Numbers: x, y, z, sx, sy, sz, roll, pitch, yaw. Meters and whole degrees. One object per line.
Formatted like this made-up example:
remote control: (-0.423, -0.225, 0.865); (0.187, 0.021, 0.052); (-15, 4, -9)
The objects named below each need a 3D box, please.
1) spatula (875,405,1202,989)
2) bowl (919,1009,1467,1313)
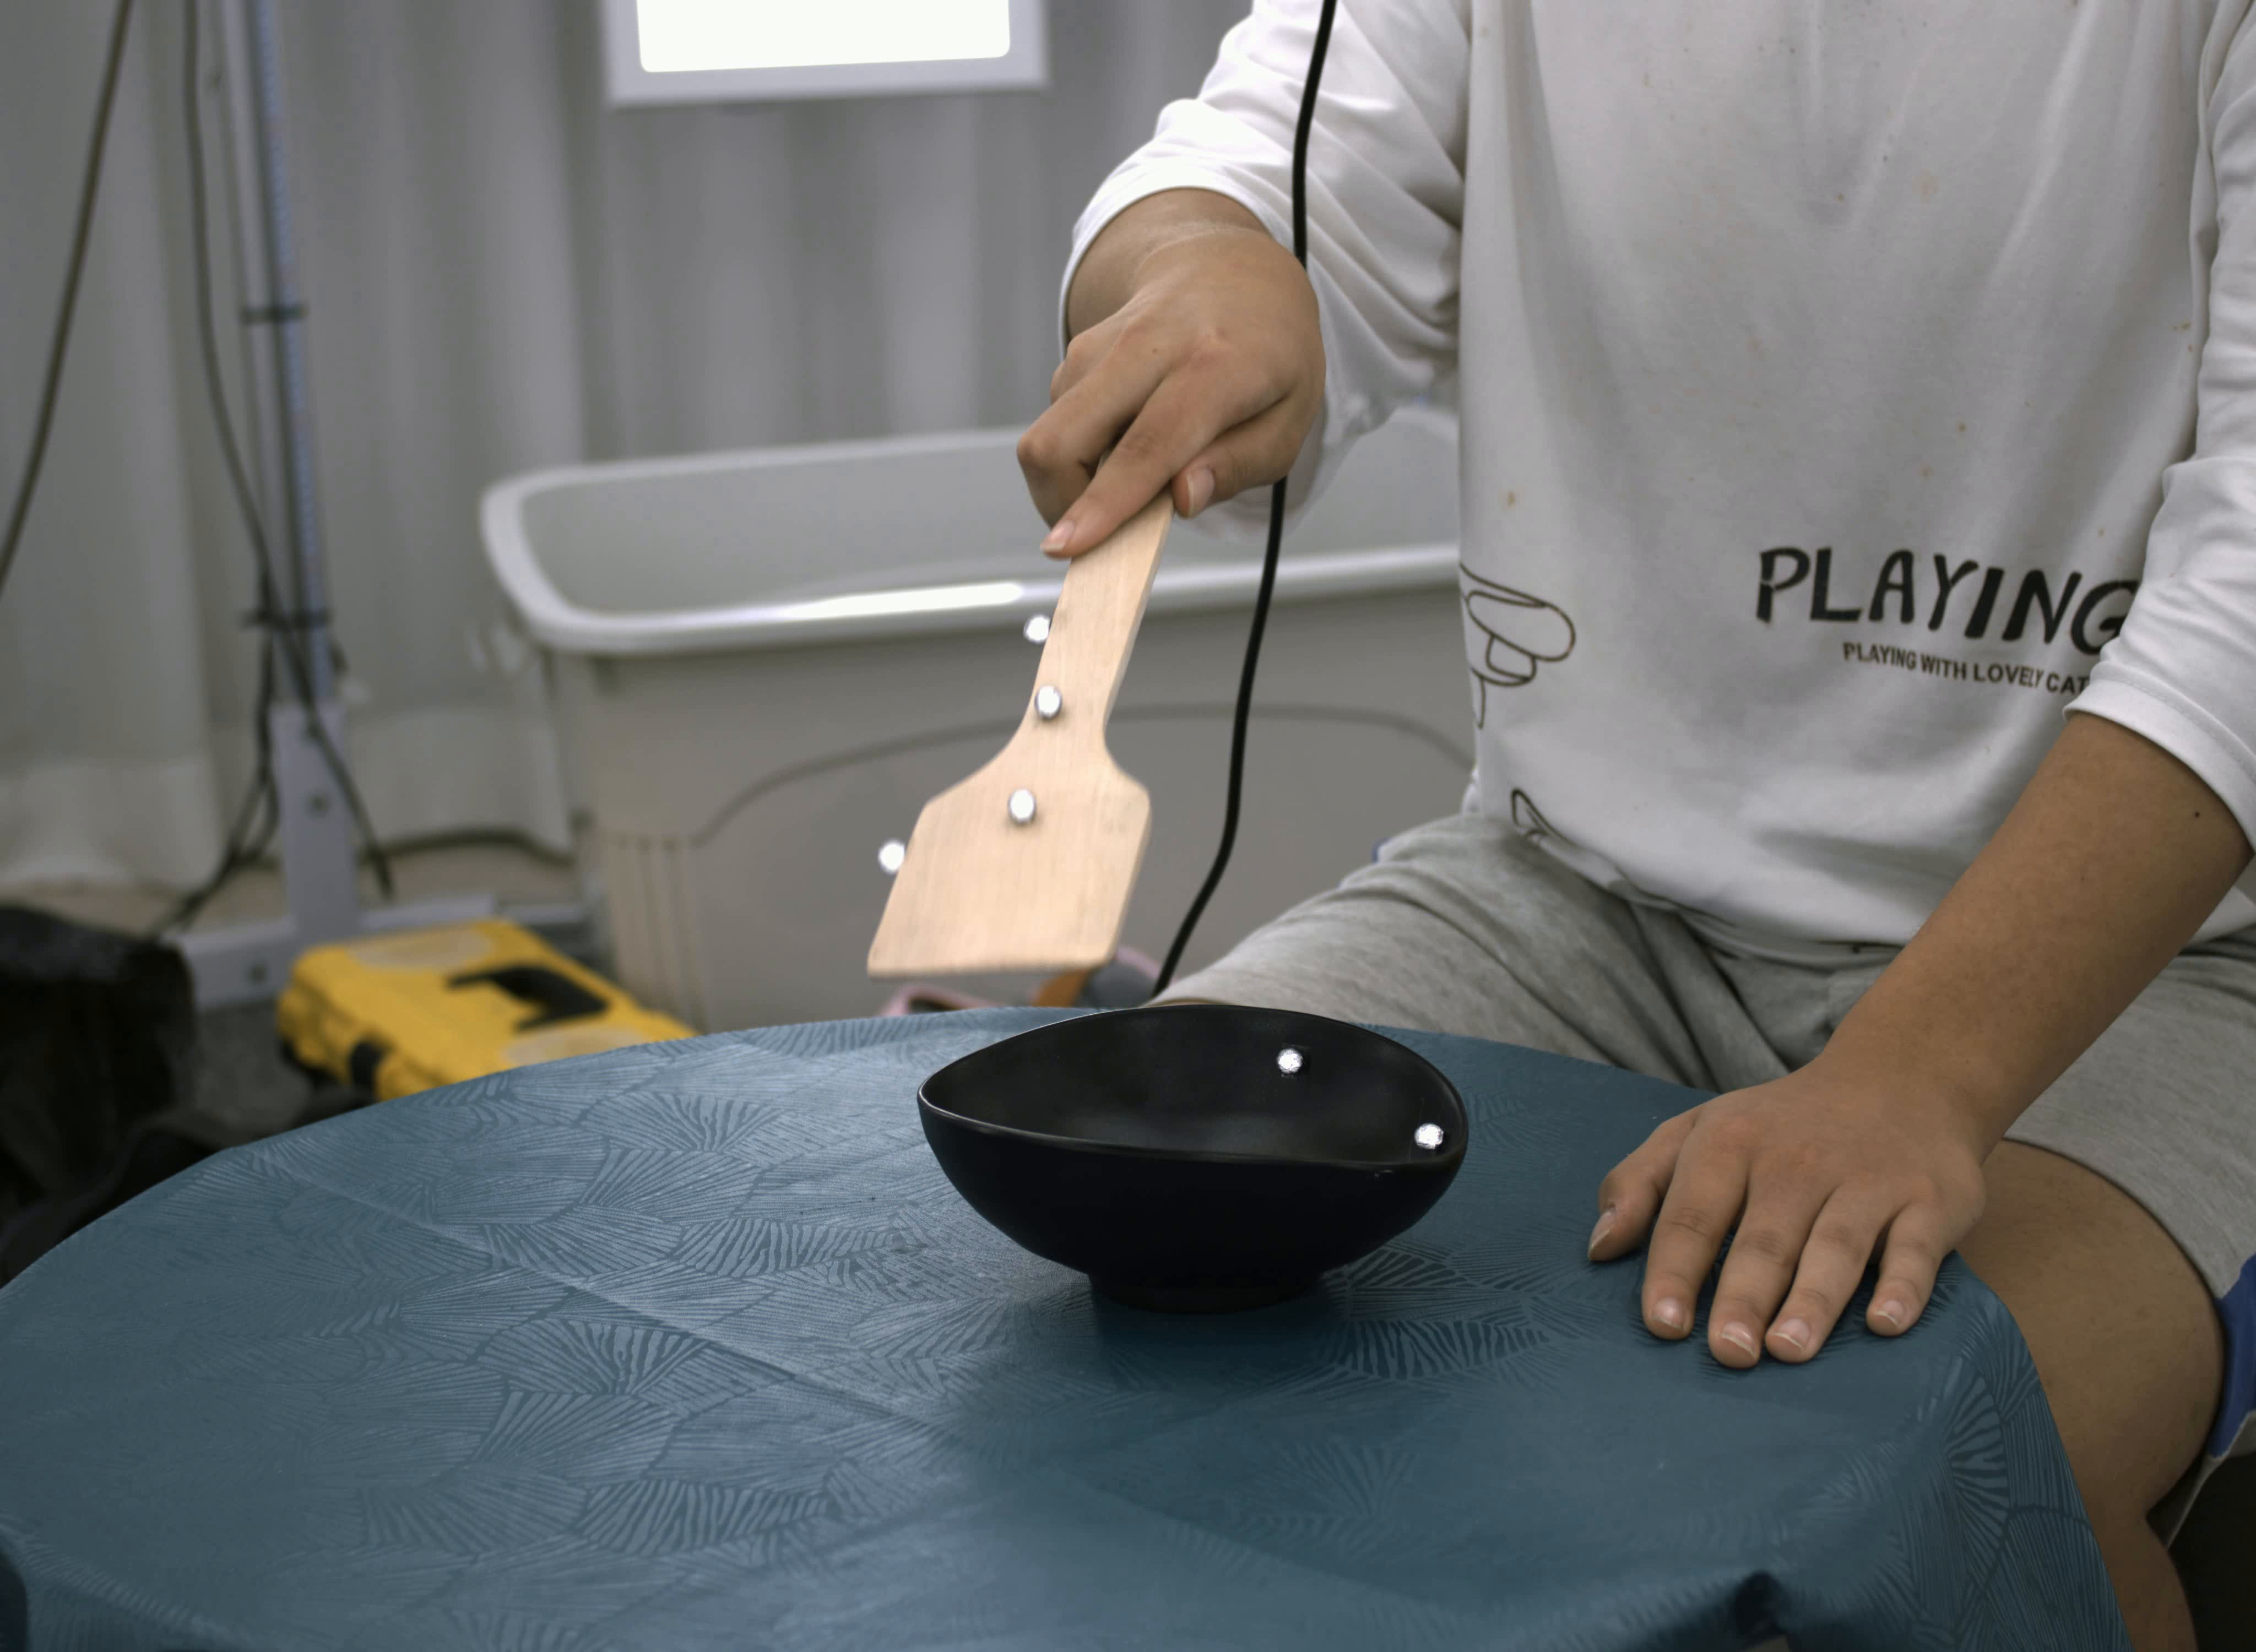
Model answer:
spatula: (-0.014, -0.043, 1.608); (0.072, 0.010, 0.297); (-3, 36, 14)
bowl: (0.020, 0.104, 1.632); (0.170, 0.066, 0.138); (5, 16, 21)
